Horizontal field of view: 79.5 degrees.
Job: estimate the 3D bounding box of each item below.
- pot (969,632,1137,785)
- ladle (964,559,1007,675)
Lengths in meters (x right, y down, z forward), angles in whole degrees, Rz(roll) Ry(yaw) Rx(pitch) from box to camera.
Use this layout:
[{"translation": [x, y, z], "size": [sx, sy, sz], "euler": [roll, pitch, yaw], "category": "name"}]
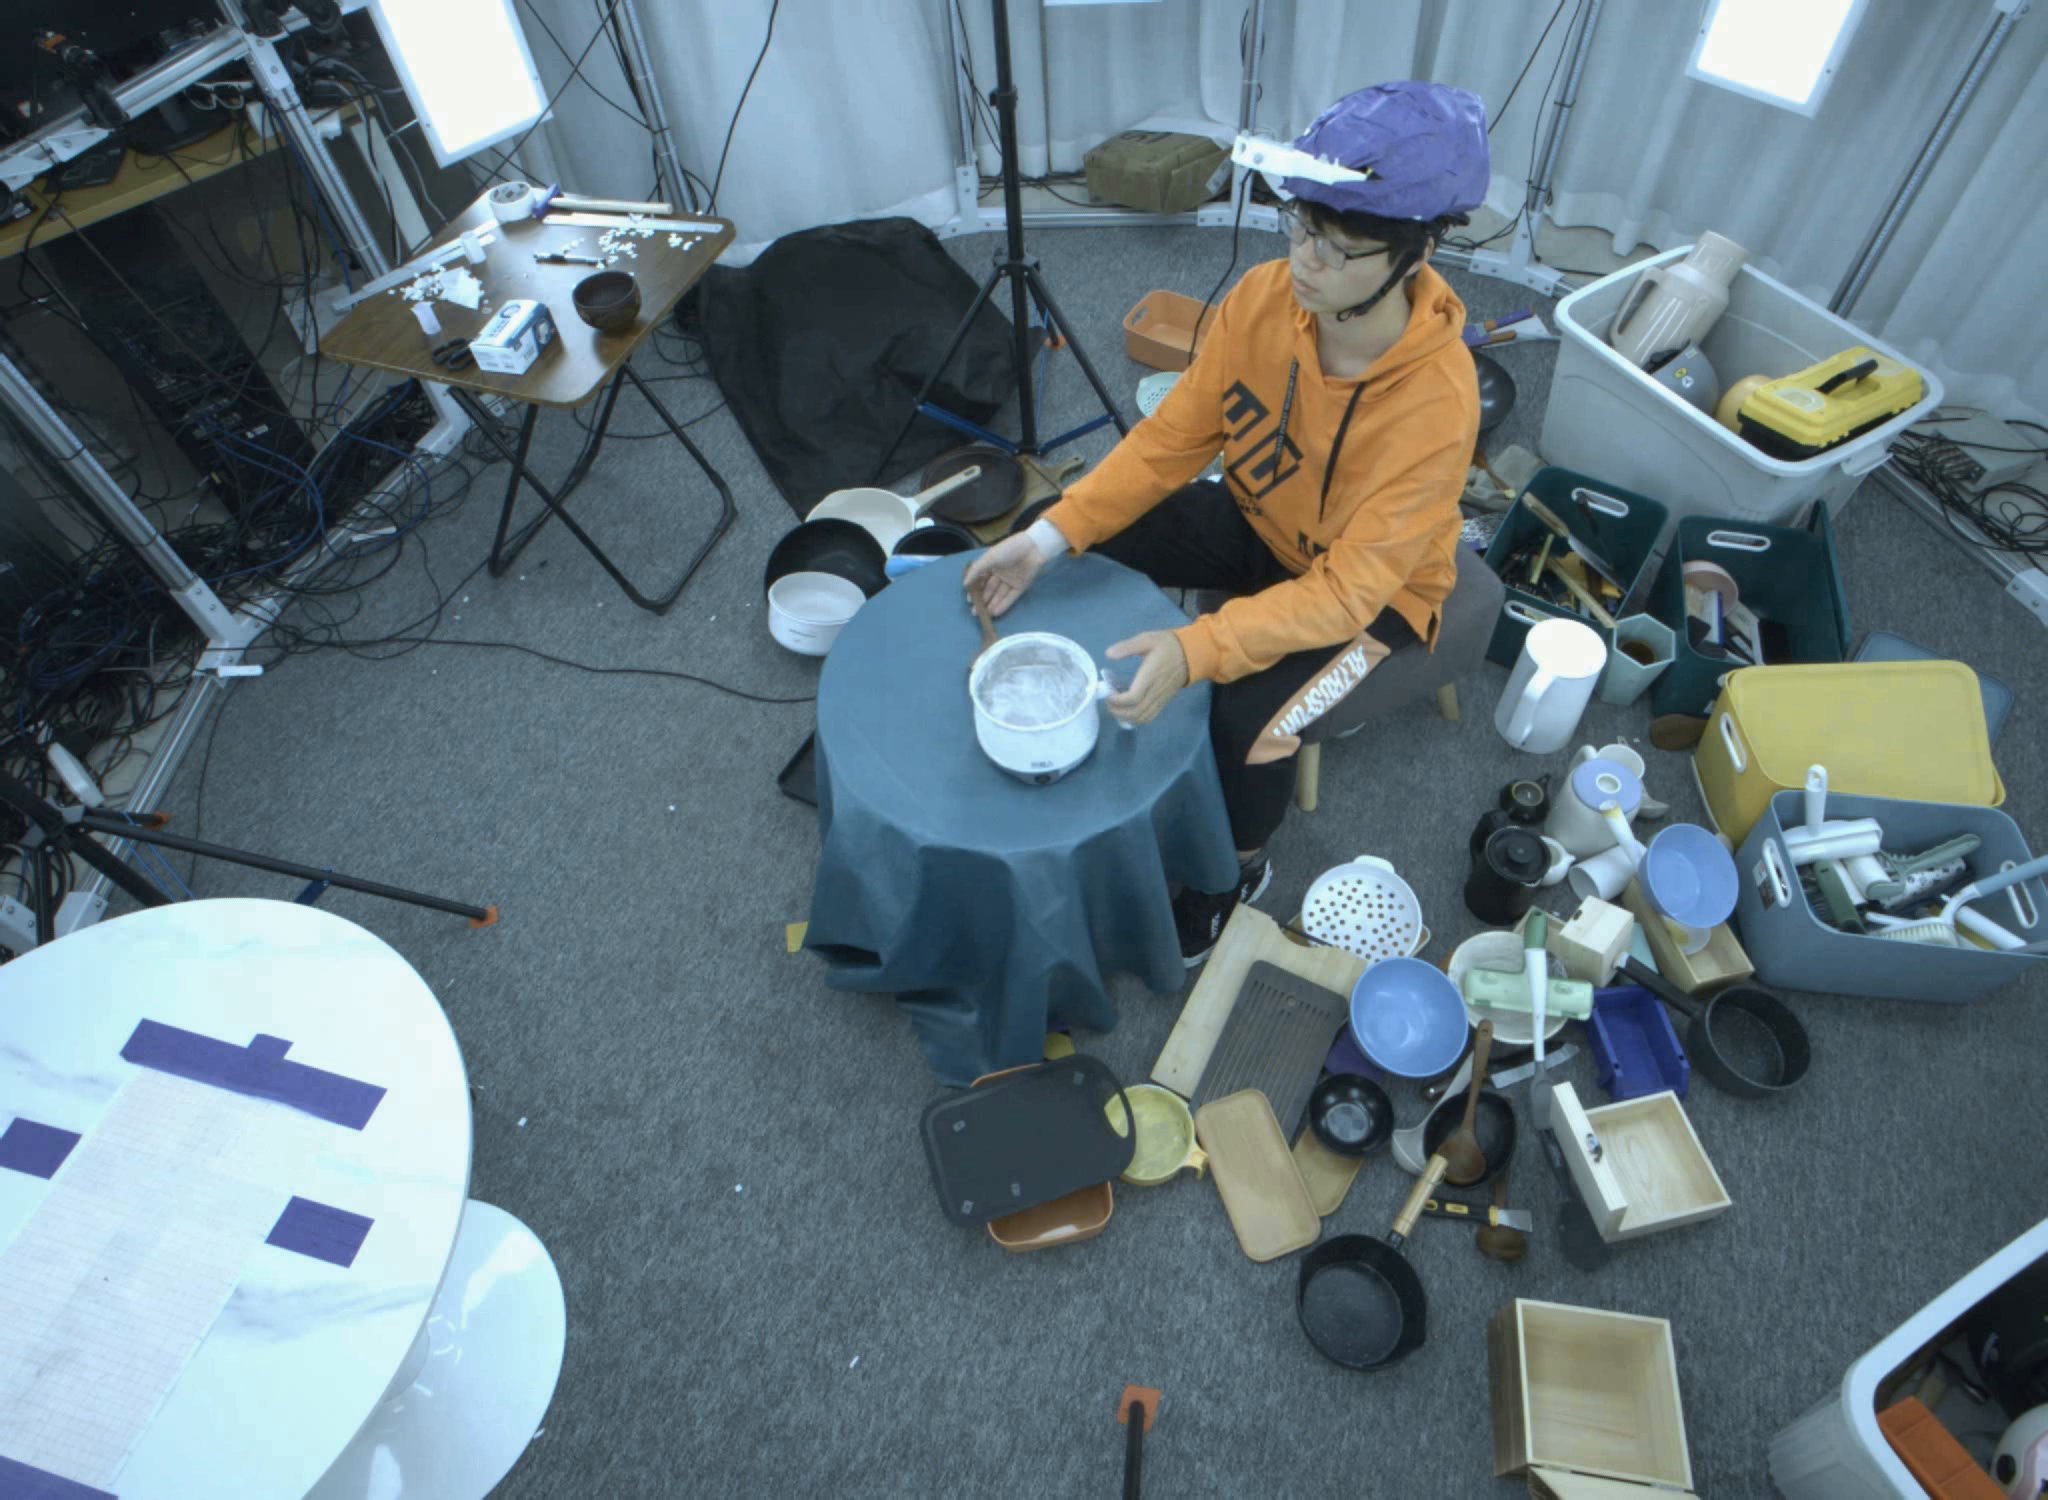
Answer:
[{"translation": [0.044, -0.062, 1.744], "size": [0.234, 0.138, 0.176], "euler": [-7, 55, -2], "category": "pot"}, {"translation": [-0.073, -0.217, 1.906], "size": [0.076, 0.066, 0.256], "euler": [-25, 54, 16], "category": "ladle"}]
